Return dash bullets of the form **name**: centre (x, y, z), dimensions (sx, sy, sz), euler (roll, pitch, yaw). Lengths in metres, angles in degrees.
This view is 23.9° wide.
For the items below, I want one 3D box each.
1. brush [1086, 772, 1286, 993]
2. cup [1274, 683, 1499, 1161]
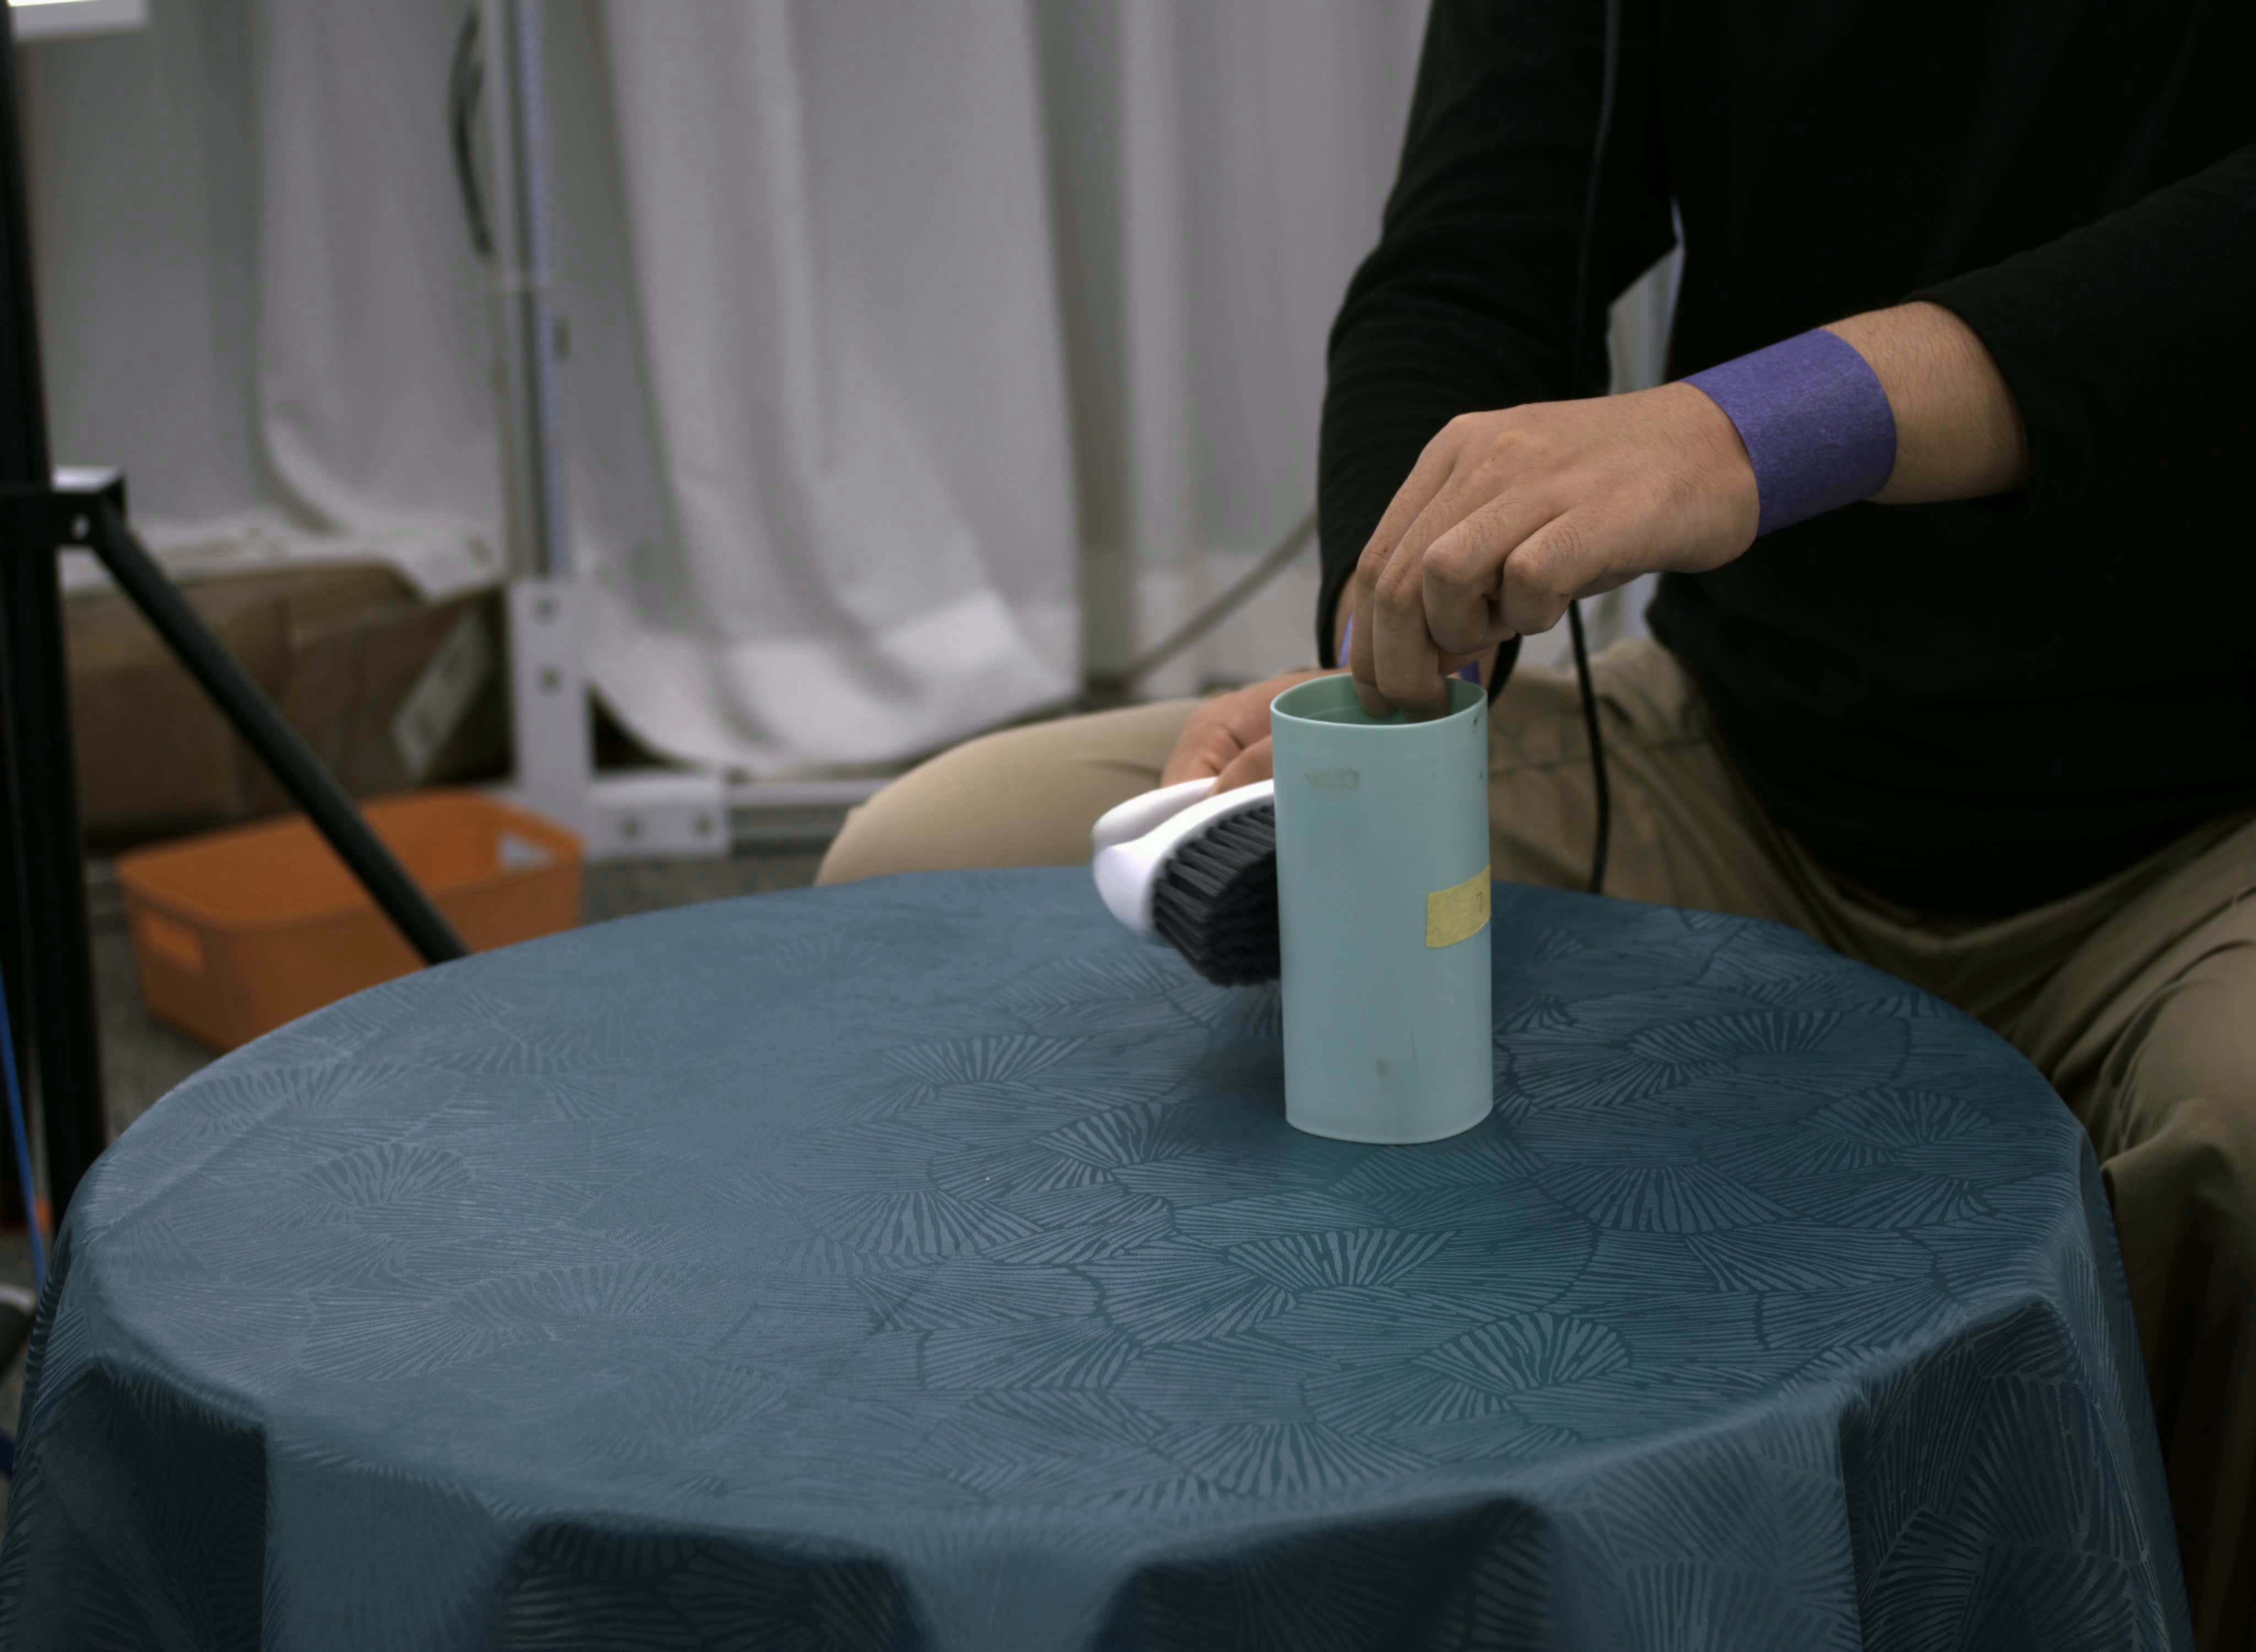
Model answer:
- **brush**: centre (0.031, 0.009, 1.654), dimensions (0.097, 0.050, 0.074), euler (-18, 34, -38)
- **cup**: centre (0.078, 0.028, 1.602), dimensions (0.066, 0.132, 0.067), euler (-3, 15, -1)
